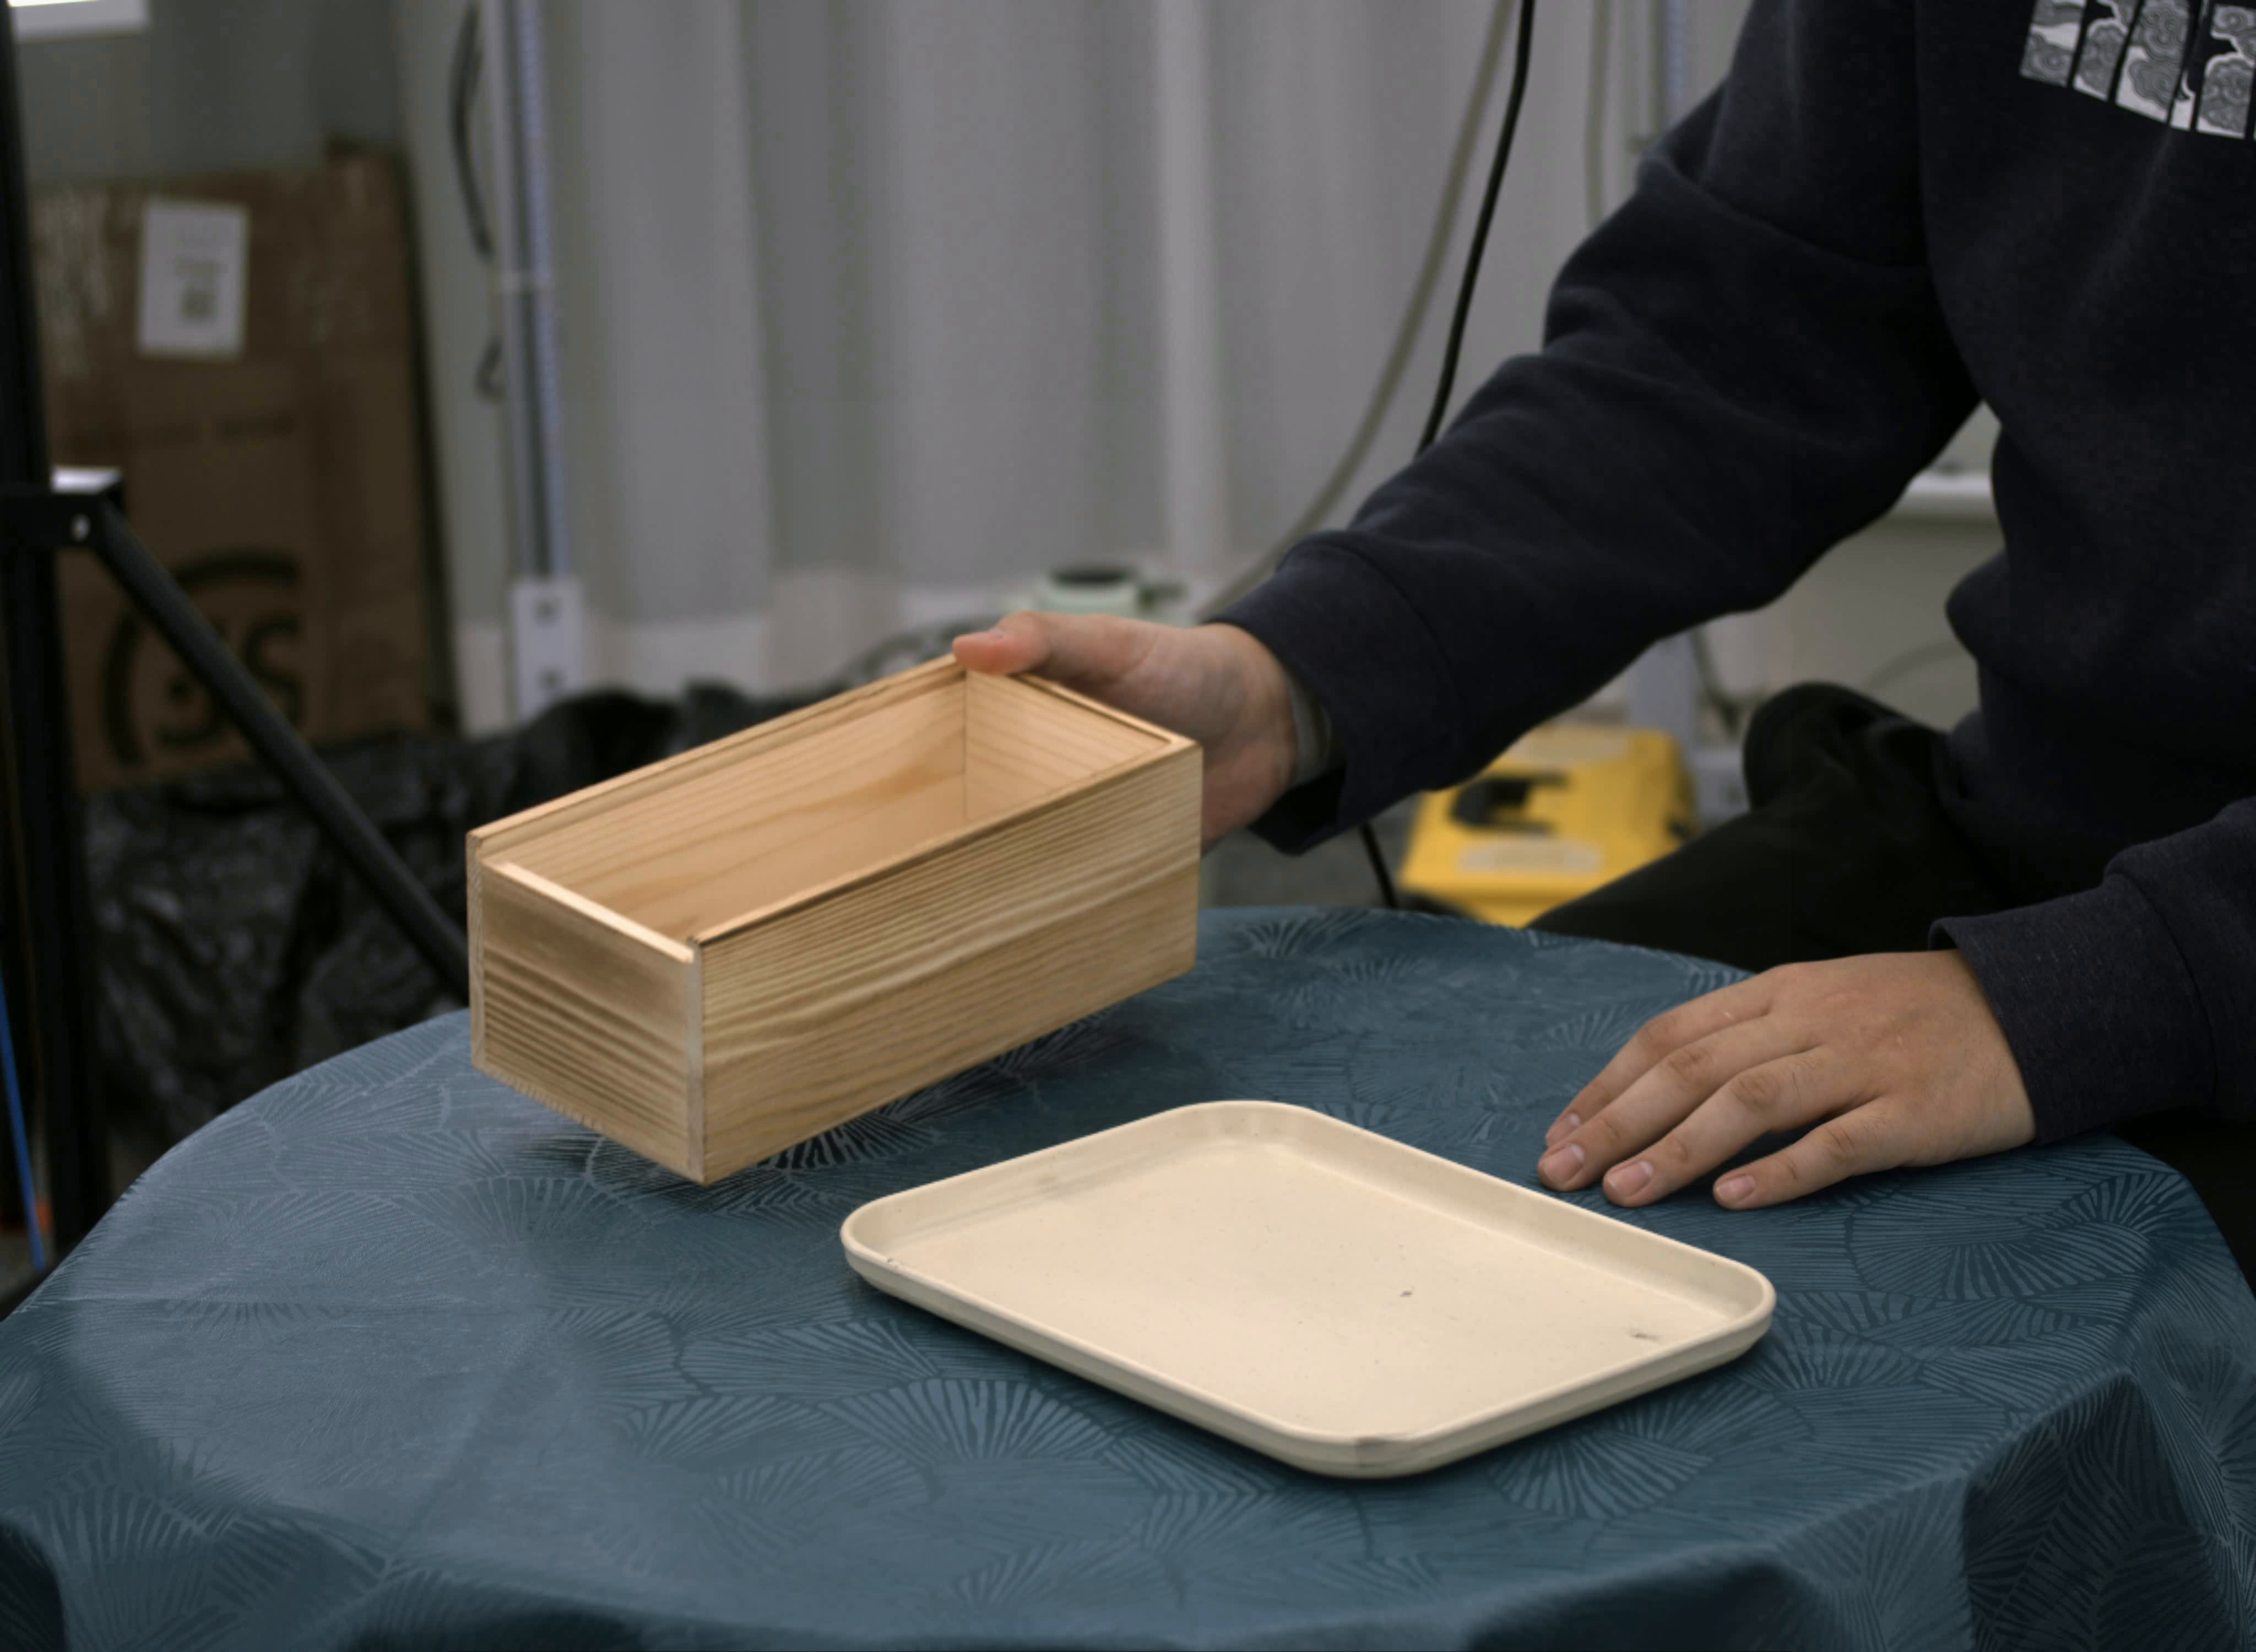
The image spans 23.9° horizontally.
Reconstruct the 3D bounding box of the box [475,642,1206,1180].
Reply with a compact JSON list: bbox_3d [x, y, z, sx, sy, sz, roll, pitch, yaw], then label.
[{"bbox_3d":[-0.086,0.022,1.635,0.110,0.080,0.207,22,32,39],"label":"box"}]

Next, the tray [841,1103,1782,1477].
[{"bbox_3d":[0.048,0.126,1.456,0.167,0.017,0.245,-14,19,-36],"label":"tray"}]
